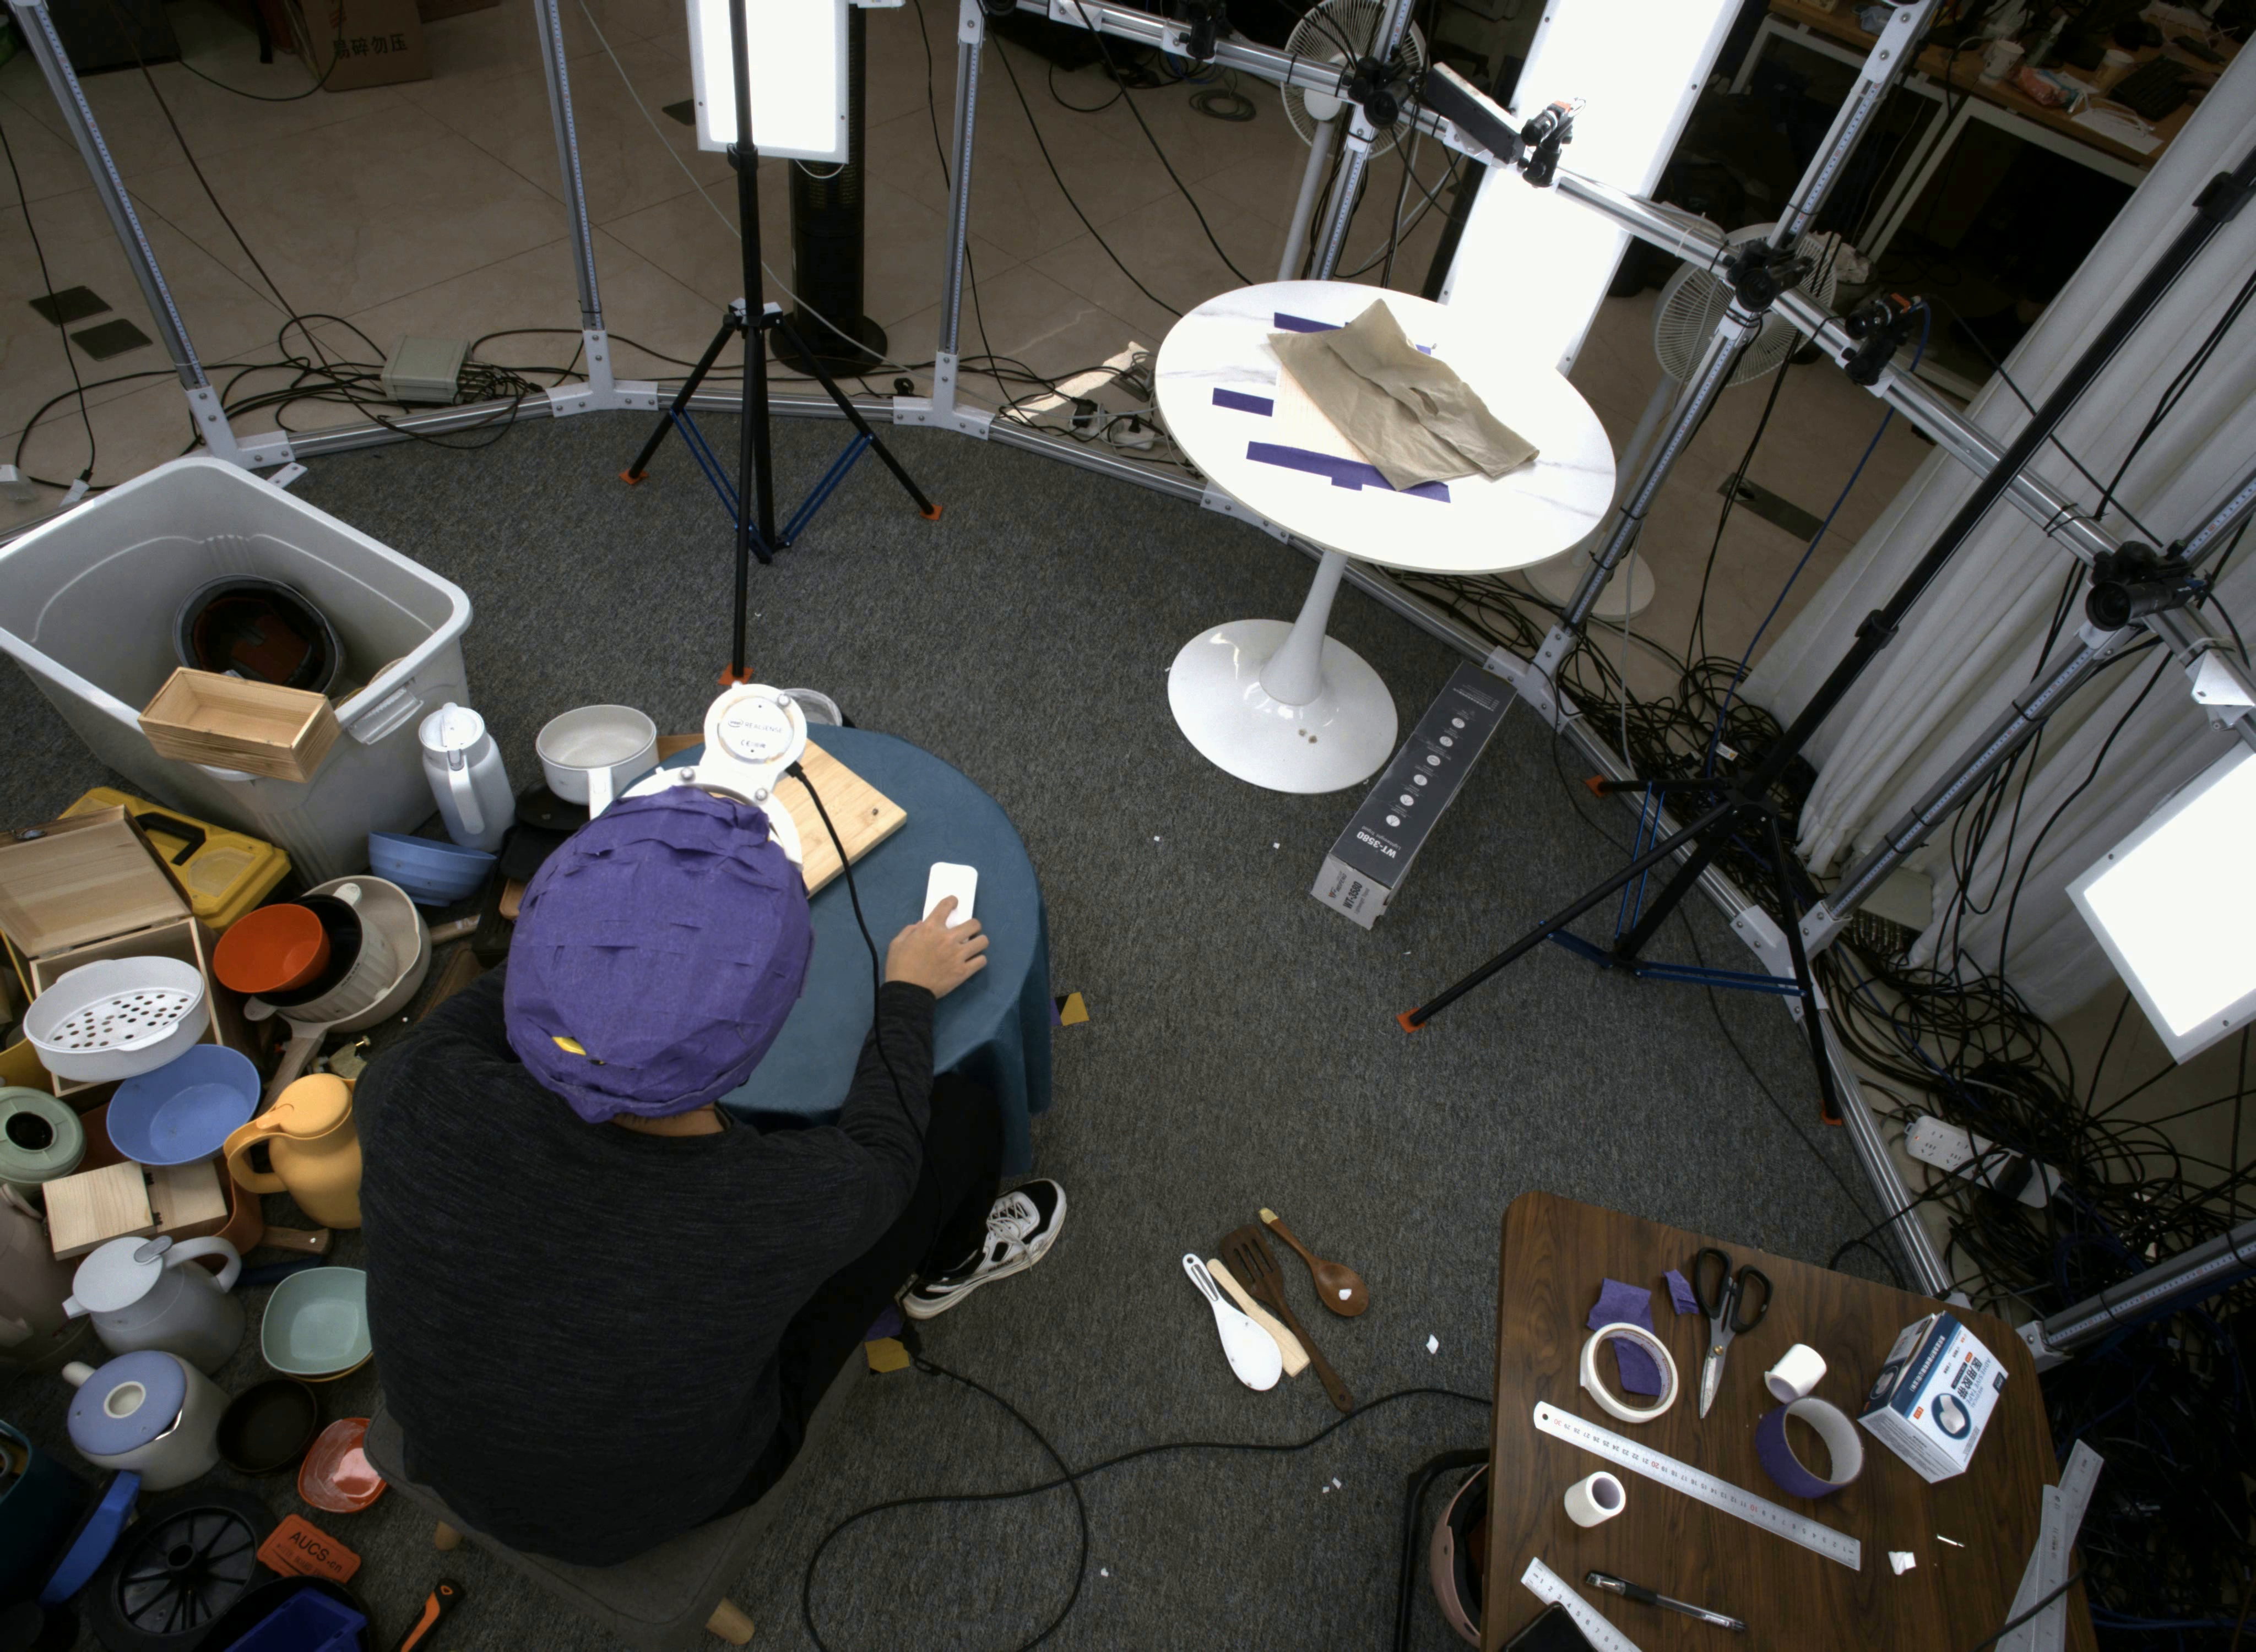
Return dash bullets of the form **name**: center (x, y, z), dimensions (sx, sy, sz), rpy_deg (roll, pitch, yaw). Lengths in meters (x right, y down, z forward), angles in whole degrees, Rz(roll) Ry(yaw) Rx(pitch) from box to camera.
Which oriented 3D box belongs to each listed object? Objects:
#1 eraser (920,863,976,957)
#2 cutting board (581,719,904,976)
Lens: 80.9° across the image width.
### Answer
- **eraser**: center (-0.232, 0.104, 1.672), dimensions (0.063, 0.035, 0.129), rpy_deg (10, 50, -8)
- **cutting board**: center (-0.492, 0.015, 1.667), dimensions (0.246, 0.024, 0.348), rpy_deg (35, 50, 13)
